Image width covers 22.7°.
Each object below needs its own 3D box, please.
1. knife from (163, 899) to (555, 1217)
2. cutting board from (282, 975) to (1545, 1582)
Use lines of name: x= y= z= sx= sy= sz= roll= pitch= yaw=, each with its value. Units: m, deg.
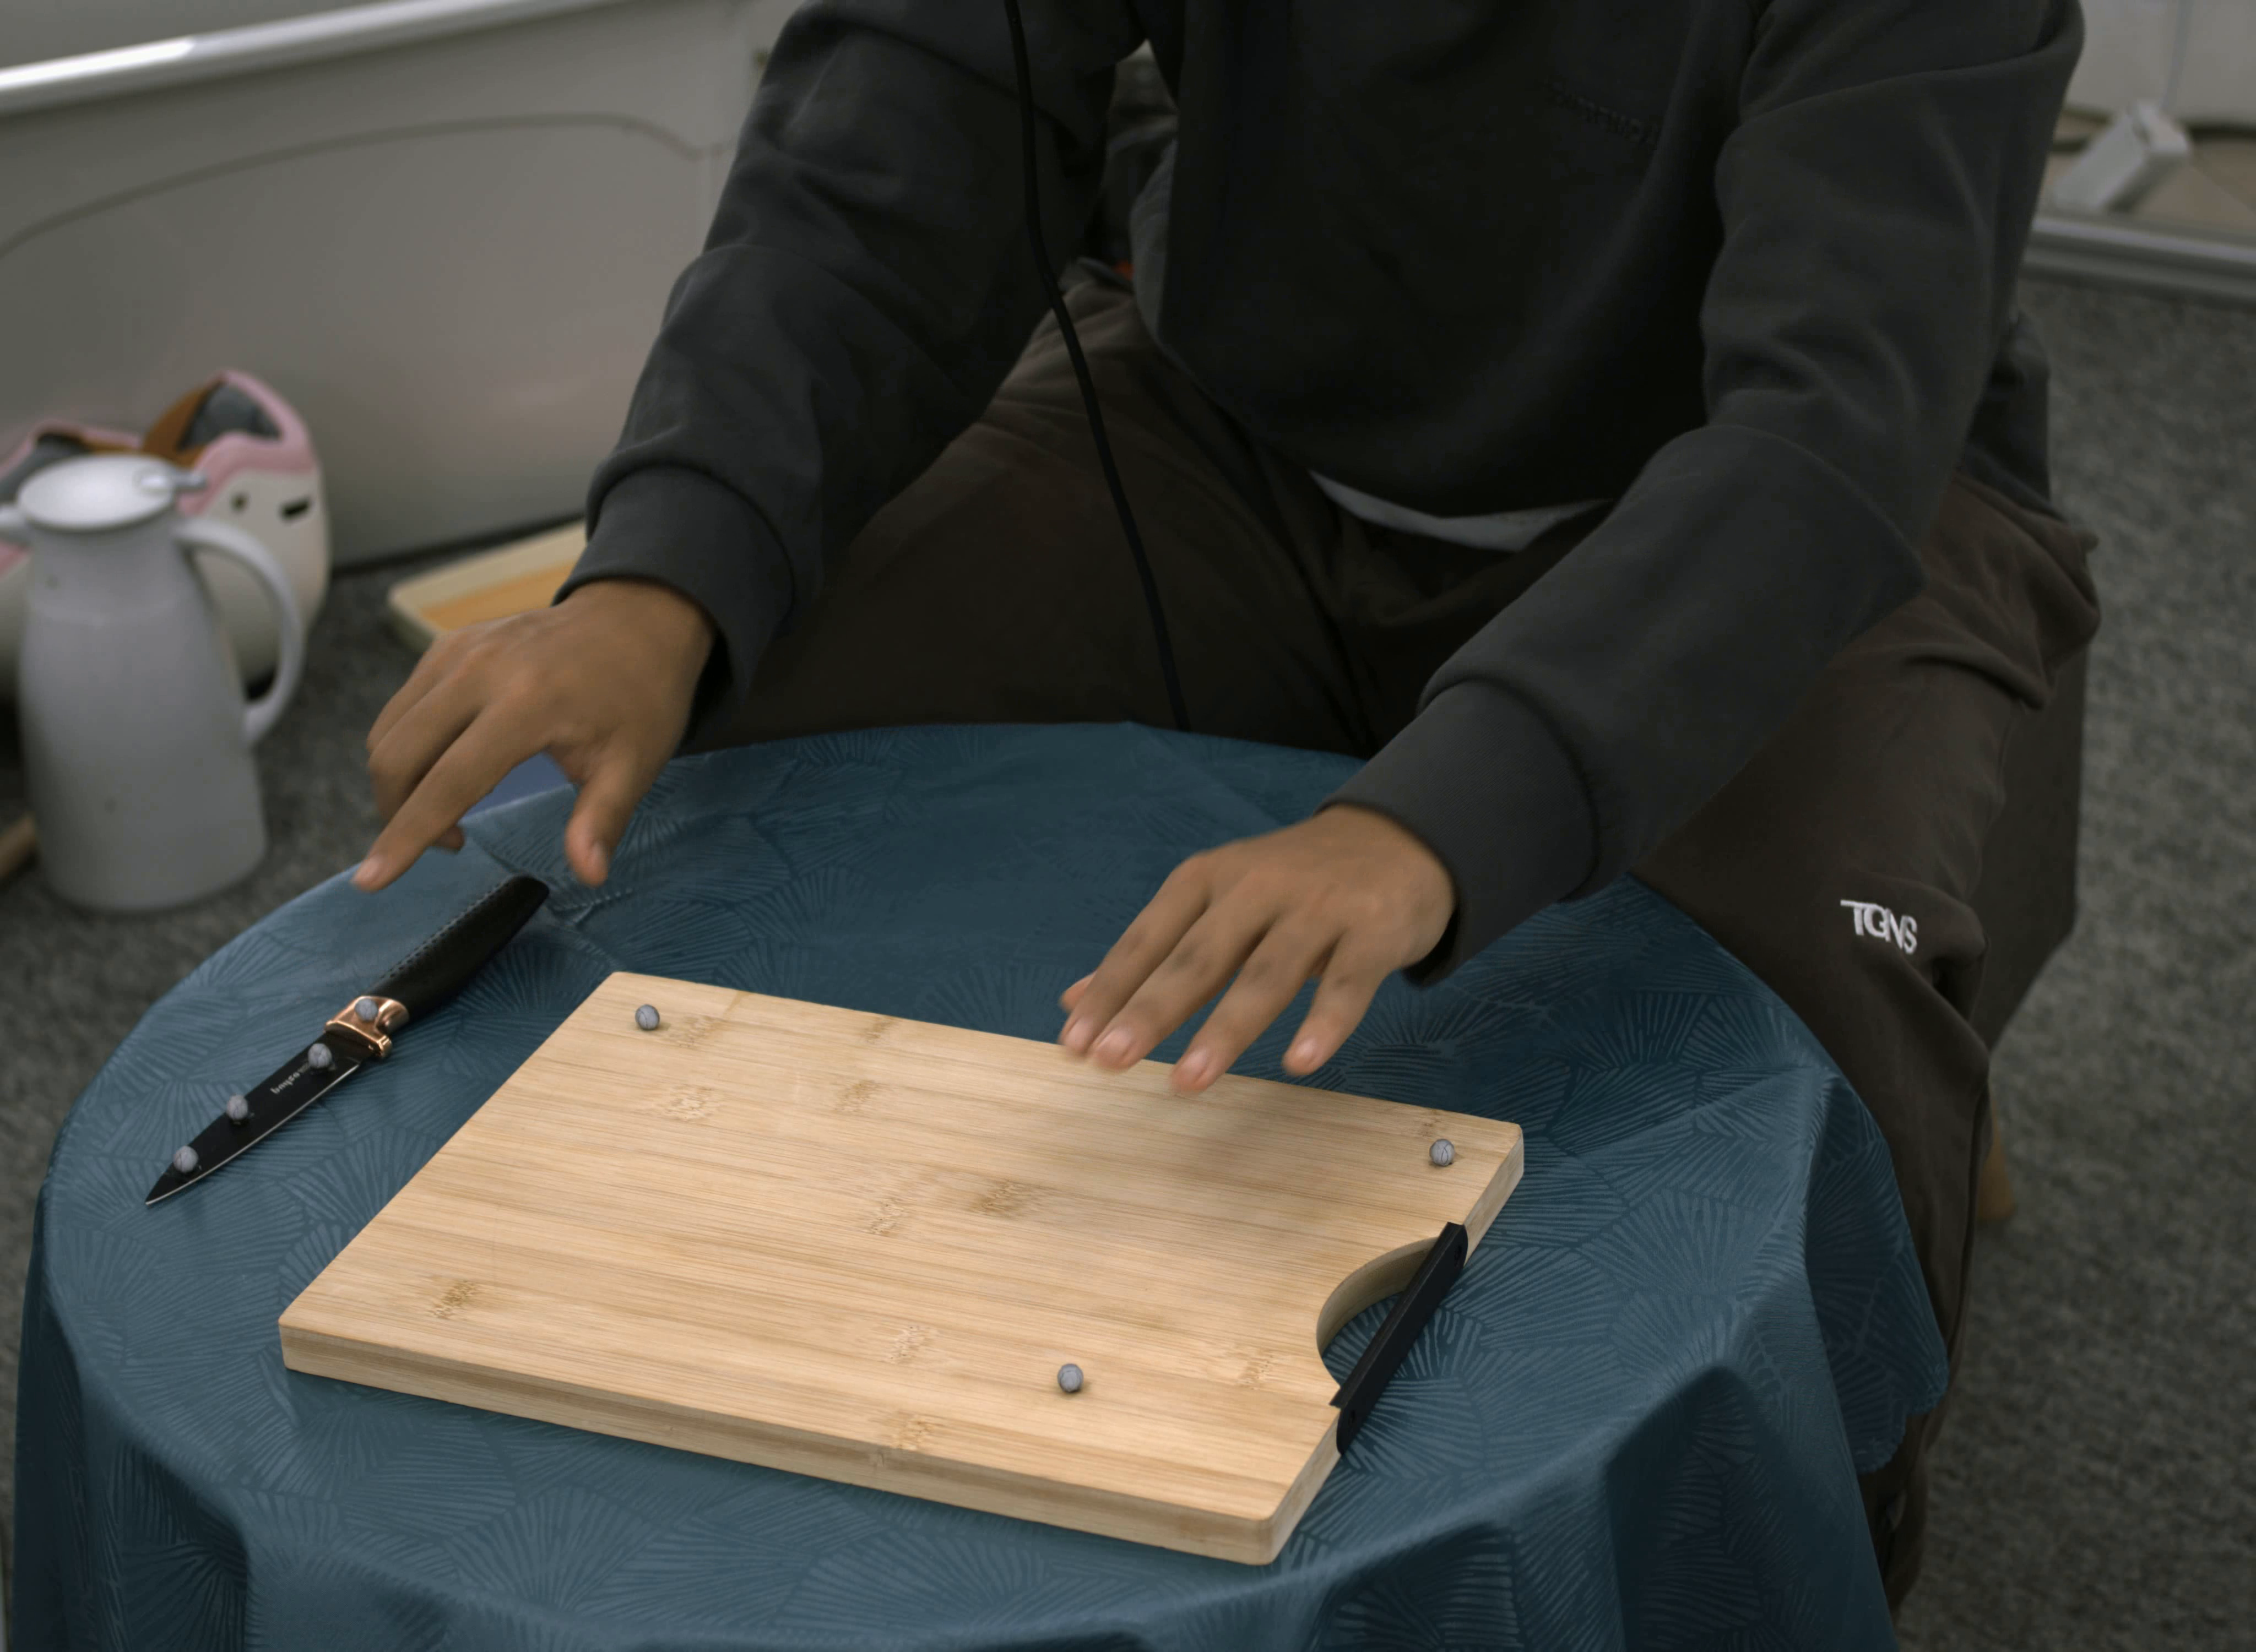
knife: x=-0.269 y=0.080 z=1.958 sx=0.026 sy=0.017 sz=0.229 roll=18 pitch=34 yaw=24
cutting board: x=-0.065 y=0.138 z=1.821 sx=0.346 sy=0.023 sz=0.255 roll=8 pitch=30 yaw=20
